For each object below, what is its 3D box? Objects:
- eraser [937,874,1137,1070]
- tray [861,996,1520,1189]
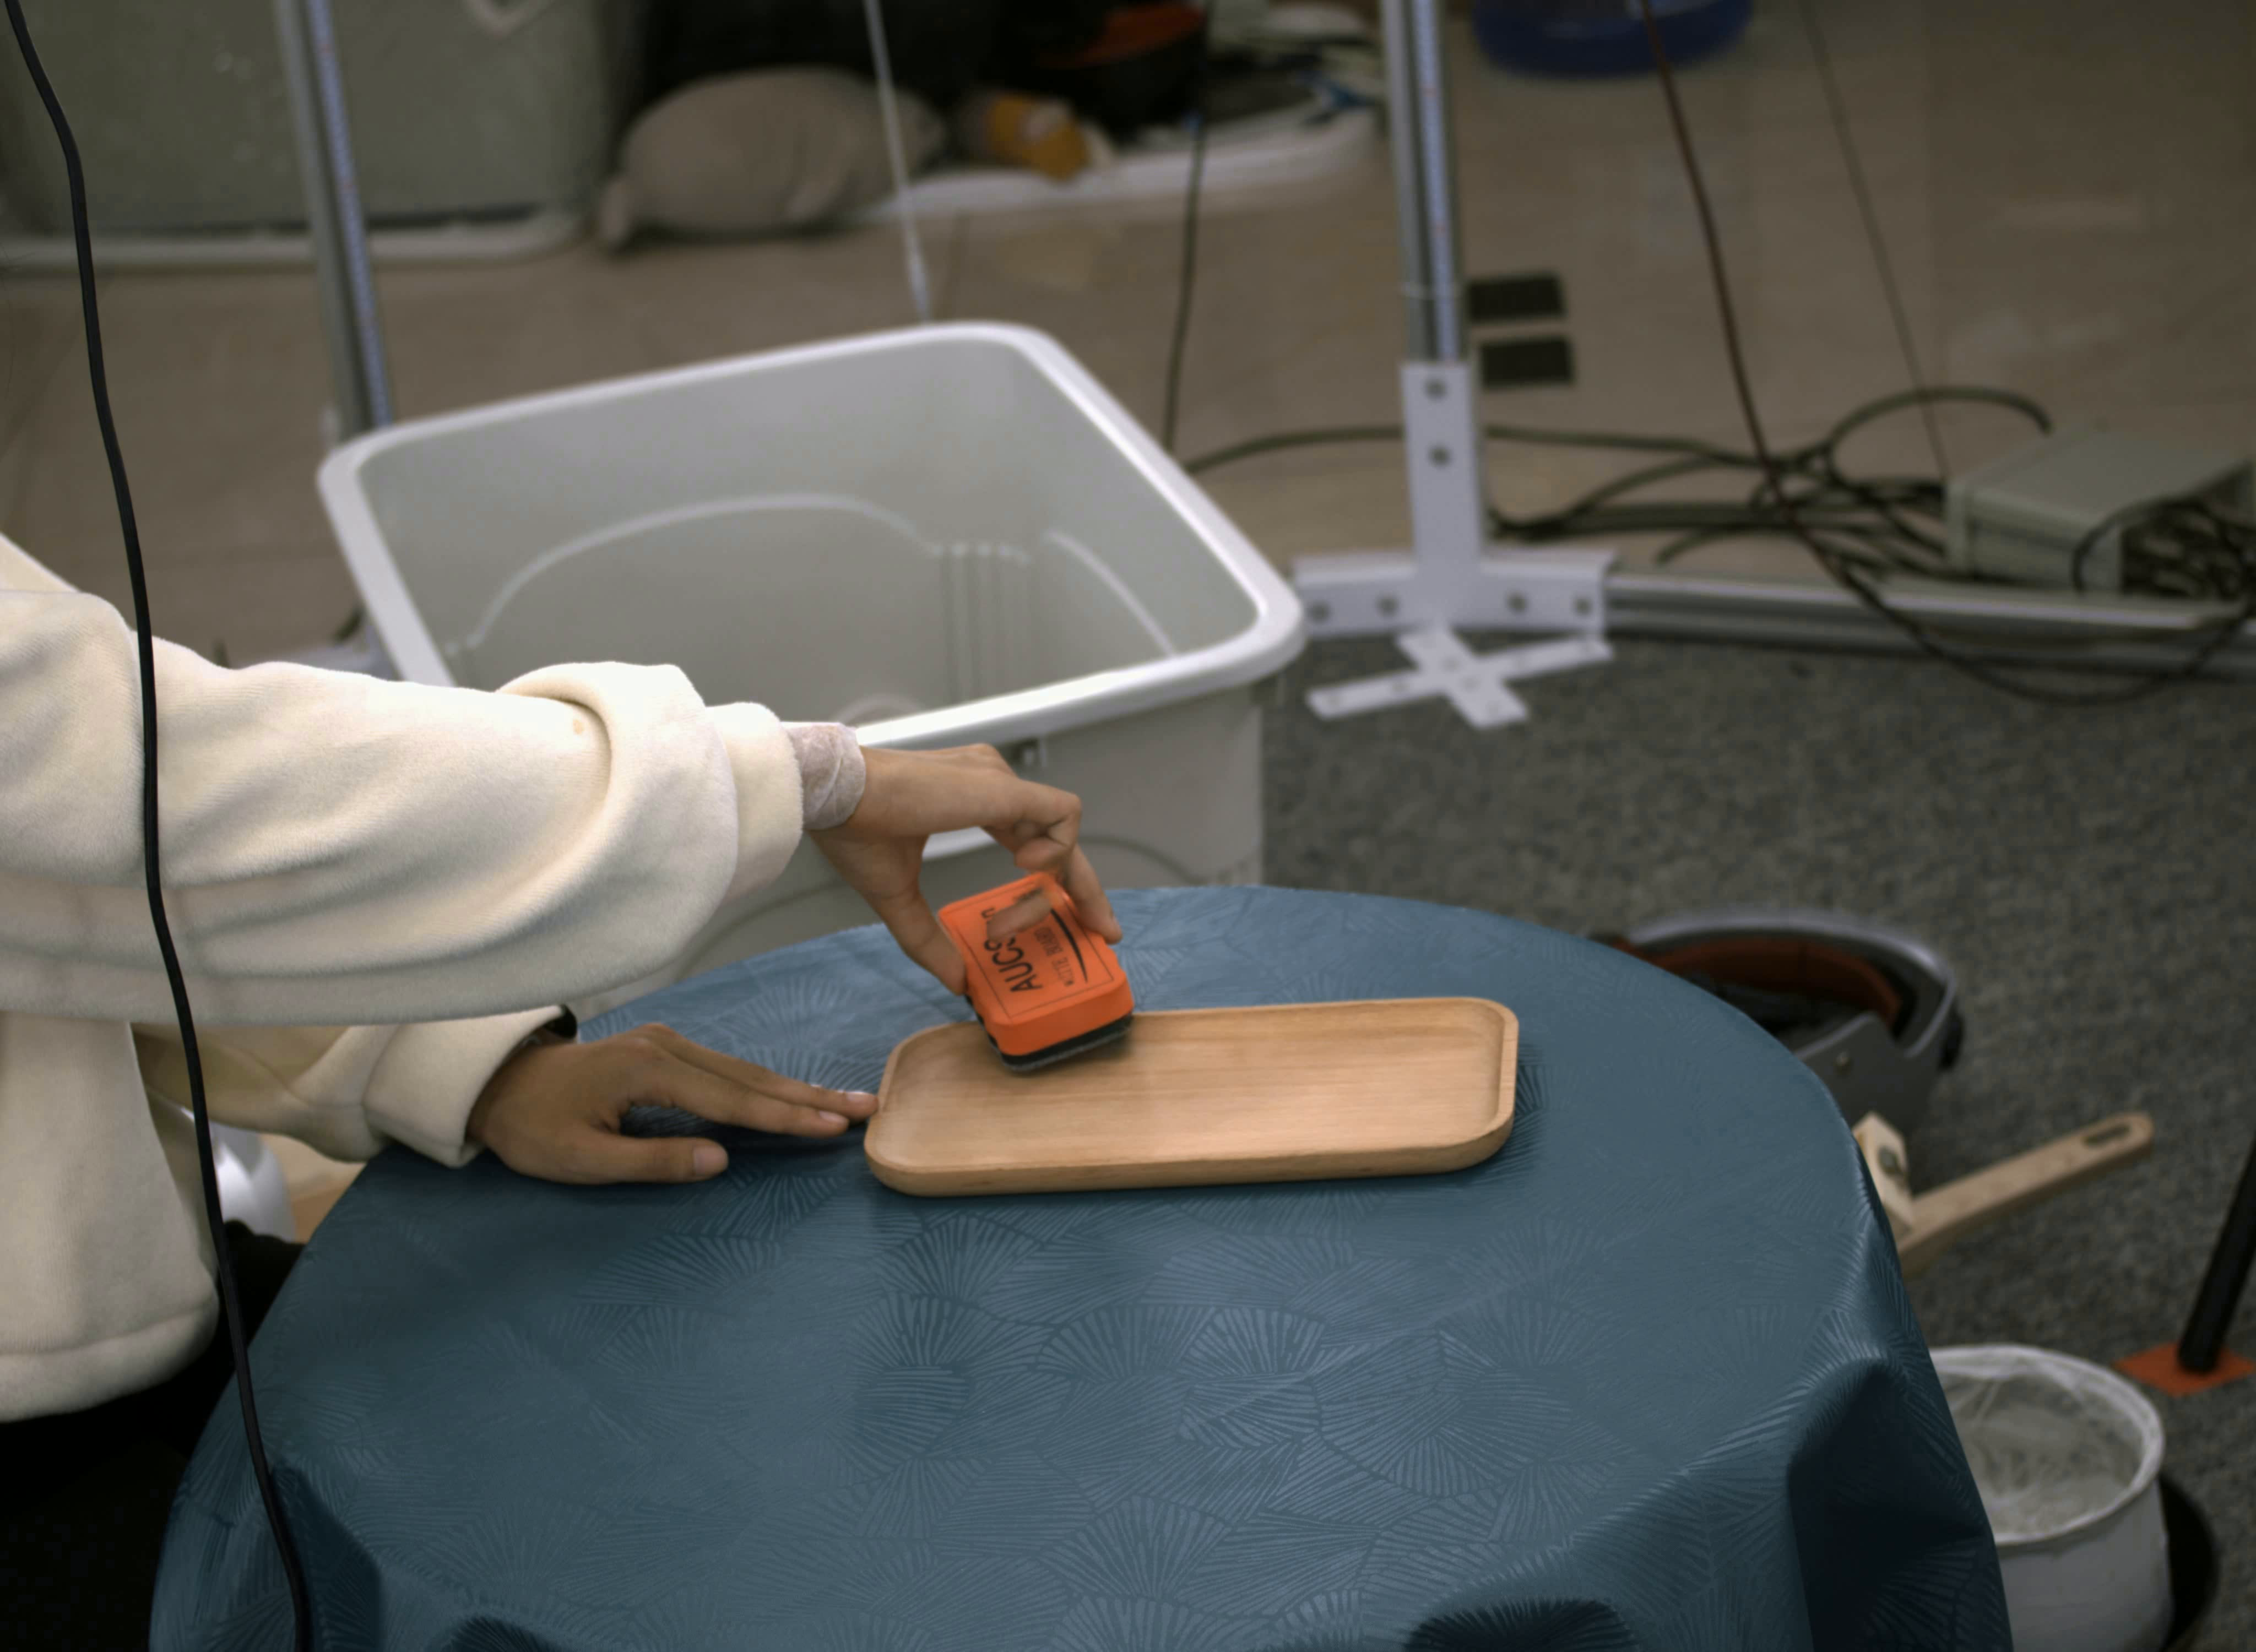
[{"bbox_3d":[-0.037,0.057,2.262,0.059,0.023,0.106,-18,29,-8],"label":"eraser"},{"bbox_3d":[0.025,0.104,2.196,0.250,0.023,0.129,-3,22,9],"label":"tray"}]
